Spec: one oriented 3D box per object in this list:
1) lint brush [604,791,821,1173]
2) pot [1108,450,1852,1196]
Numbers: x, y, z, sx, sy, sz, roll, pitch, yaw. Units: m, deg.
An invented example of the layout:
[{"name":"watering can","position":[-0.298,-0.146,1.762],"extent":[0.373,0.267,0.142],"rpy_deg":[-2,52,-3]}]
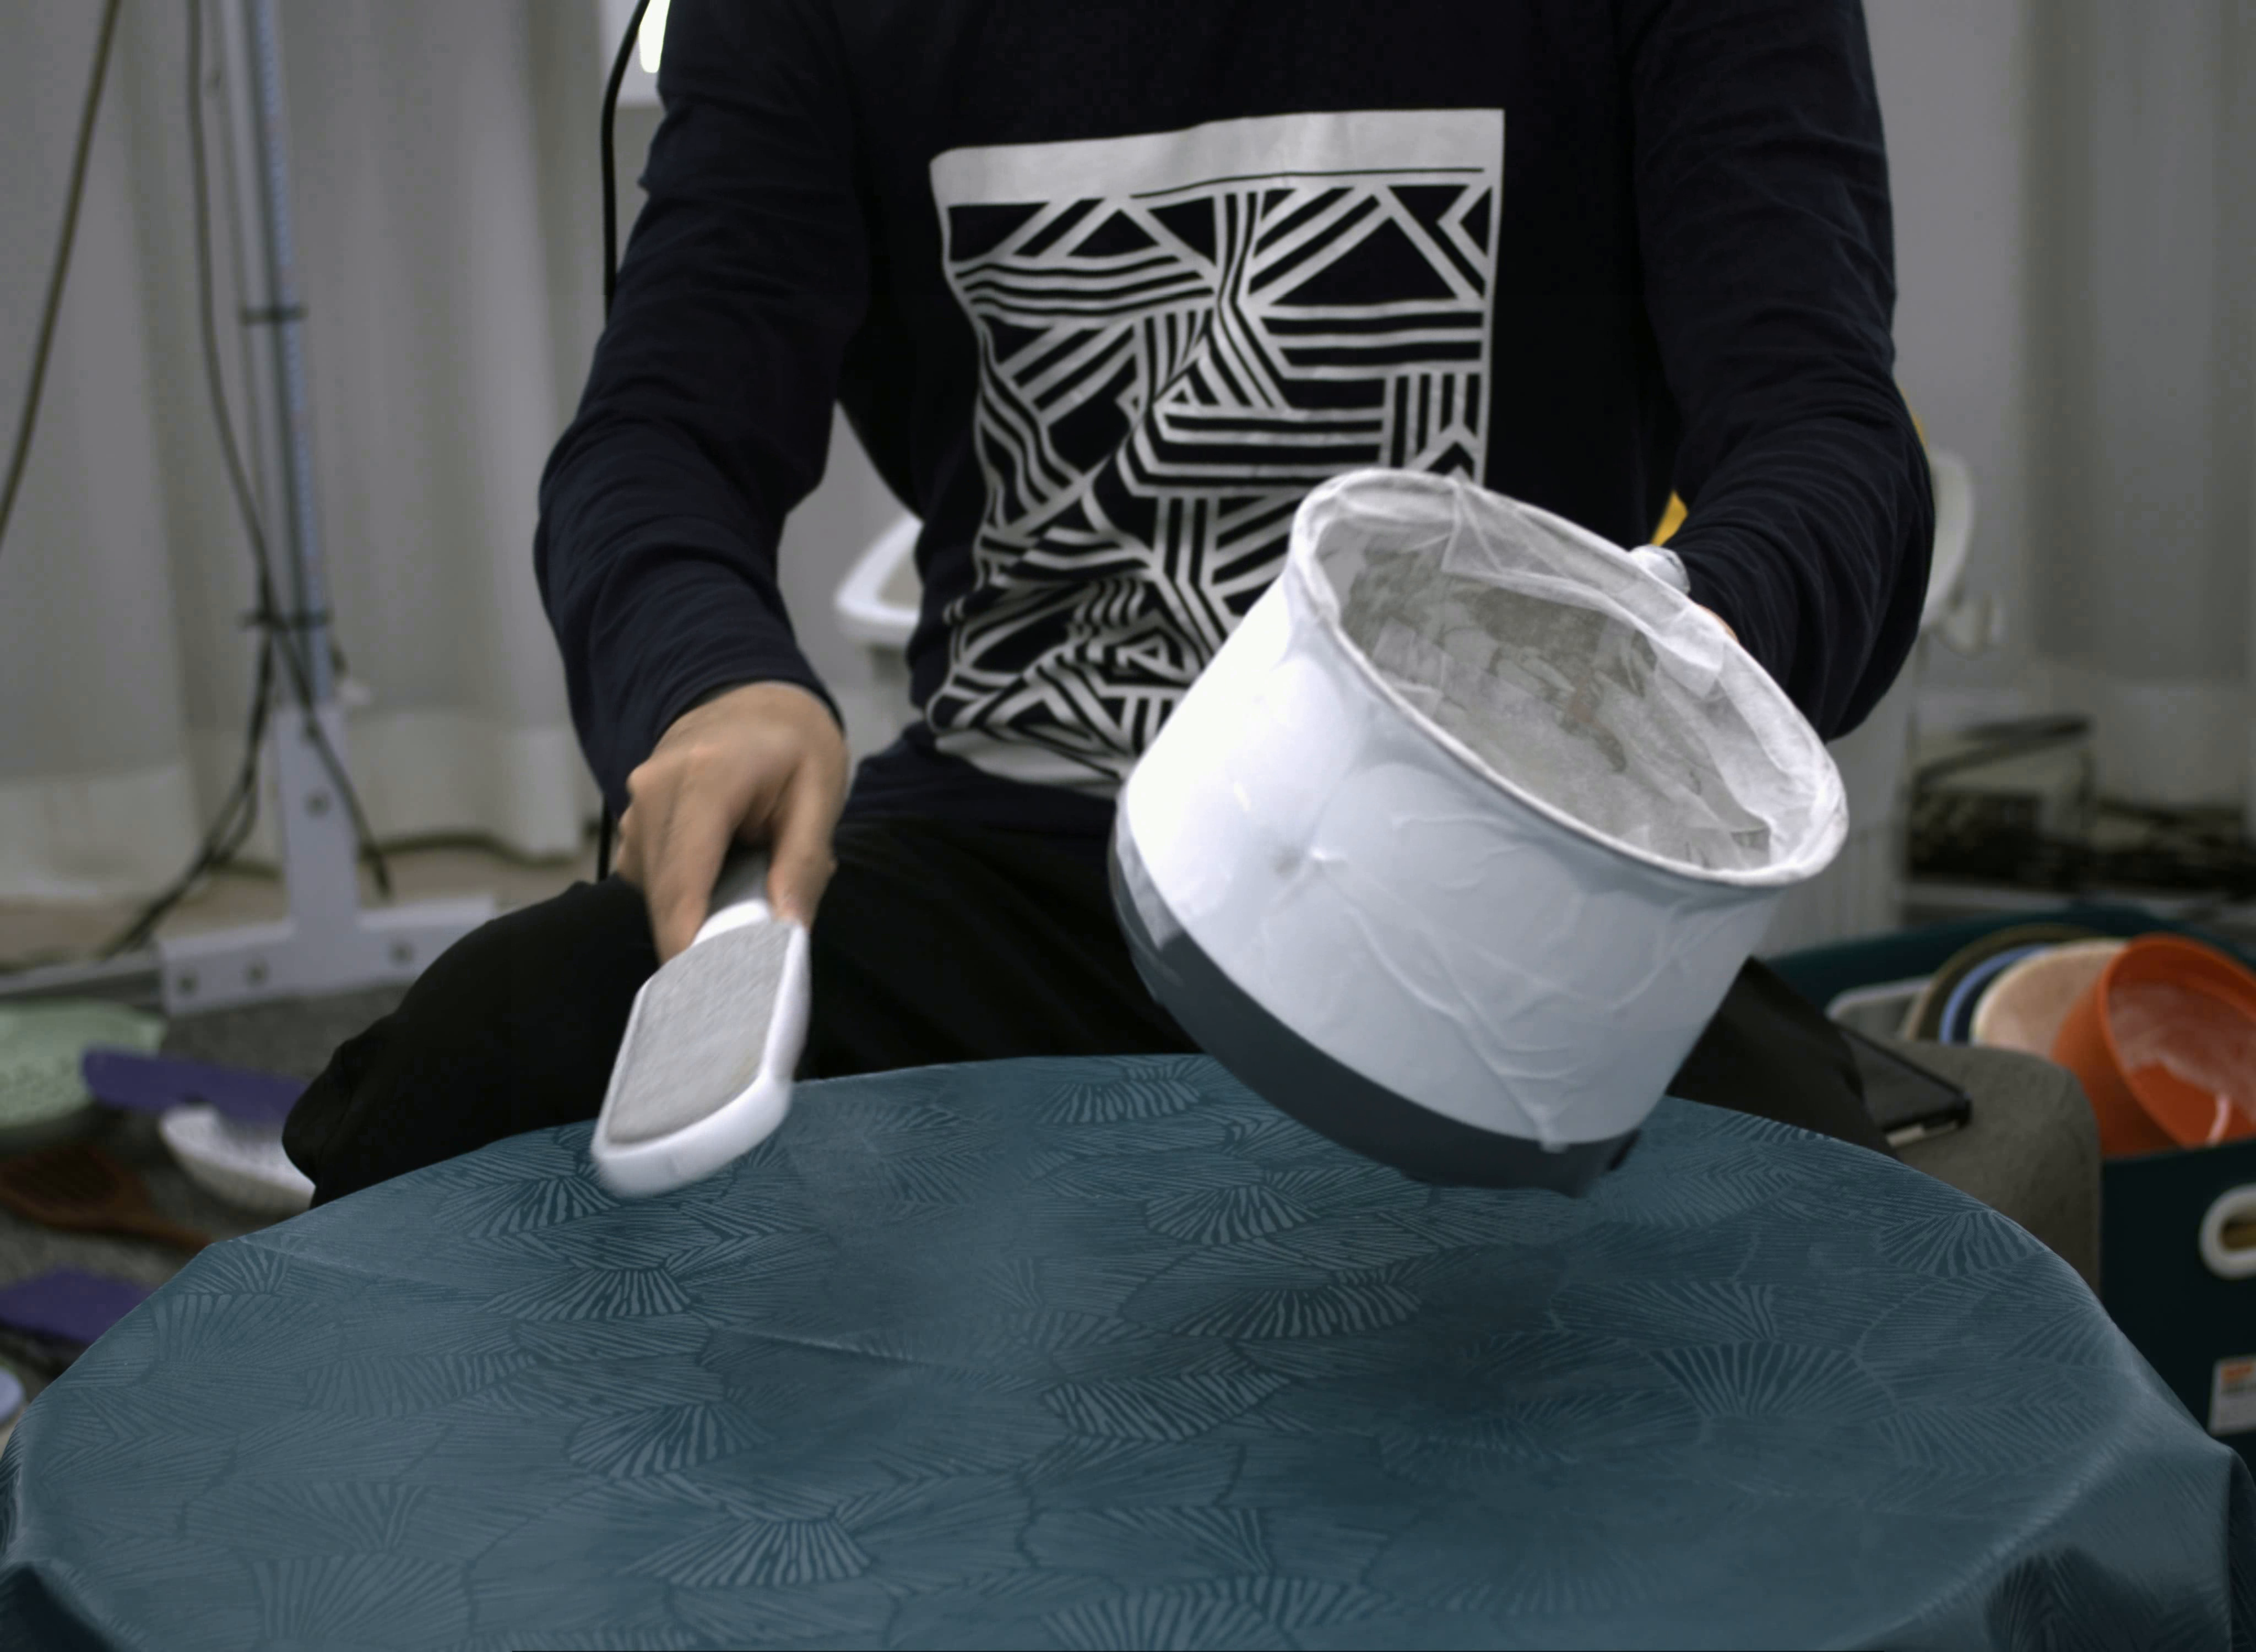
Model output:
[{"name":"lint brush","position":[-0.119,0.041,1.667],"extent":[0.060,0.021,0.311],"rpy_deg":[-27,15,8]},{"name":"pot","position":[0.102,-0.008,1.558],"extent":[0.179,0.136,0.235],"rpy_deg":[38,28,4]}]
